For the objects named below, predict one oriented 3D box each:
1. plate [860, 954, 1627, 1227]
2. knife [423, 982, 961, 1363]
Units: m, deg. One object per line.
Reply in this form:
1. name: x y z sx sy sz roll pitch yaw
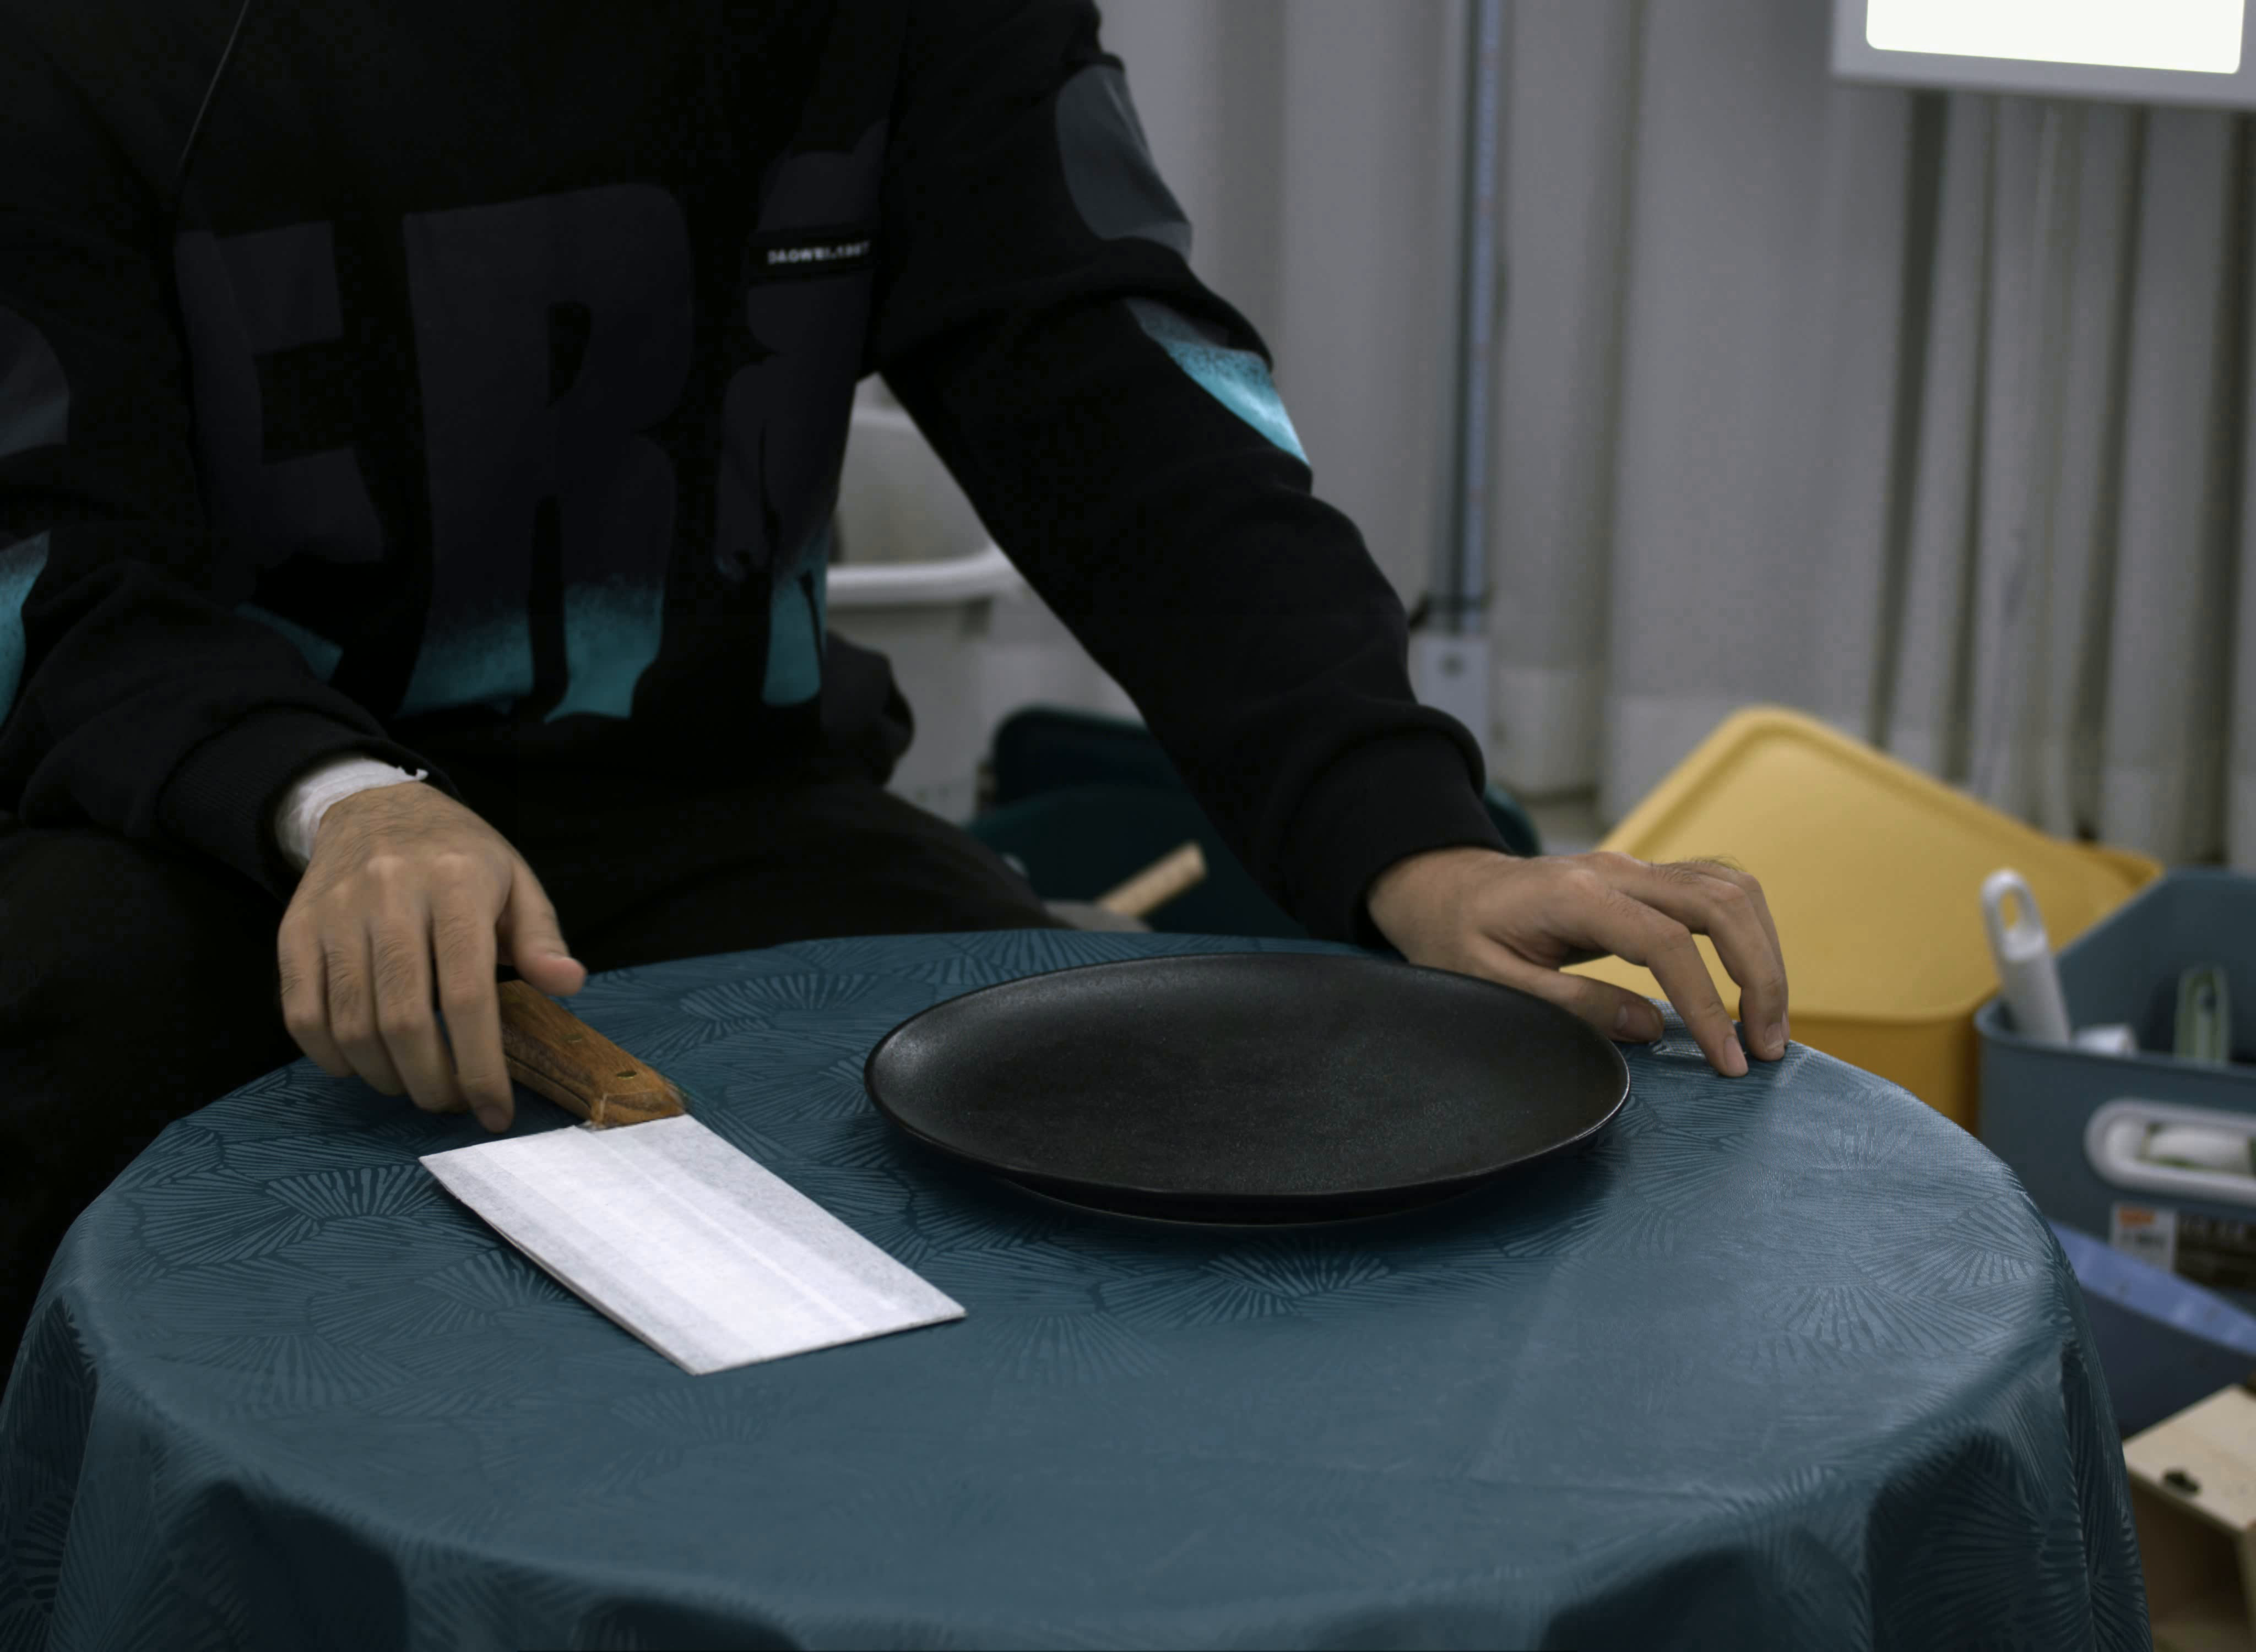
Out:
1. plate: 0.037 0.086 1.672 0.243 0.023 0.243 0 16 0
2. knife: -0.160 0.106 1.614 0.093 0.021 0.301 -10 21 -30
